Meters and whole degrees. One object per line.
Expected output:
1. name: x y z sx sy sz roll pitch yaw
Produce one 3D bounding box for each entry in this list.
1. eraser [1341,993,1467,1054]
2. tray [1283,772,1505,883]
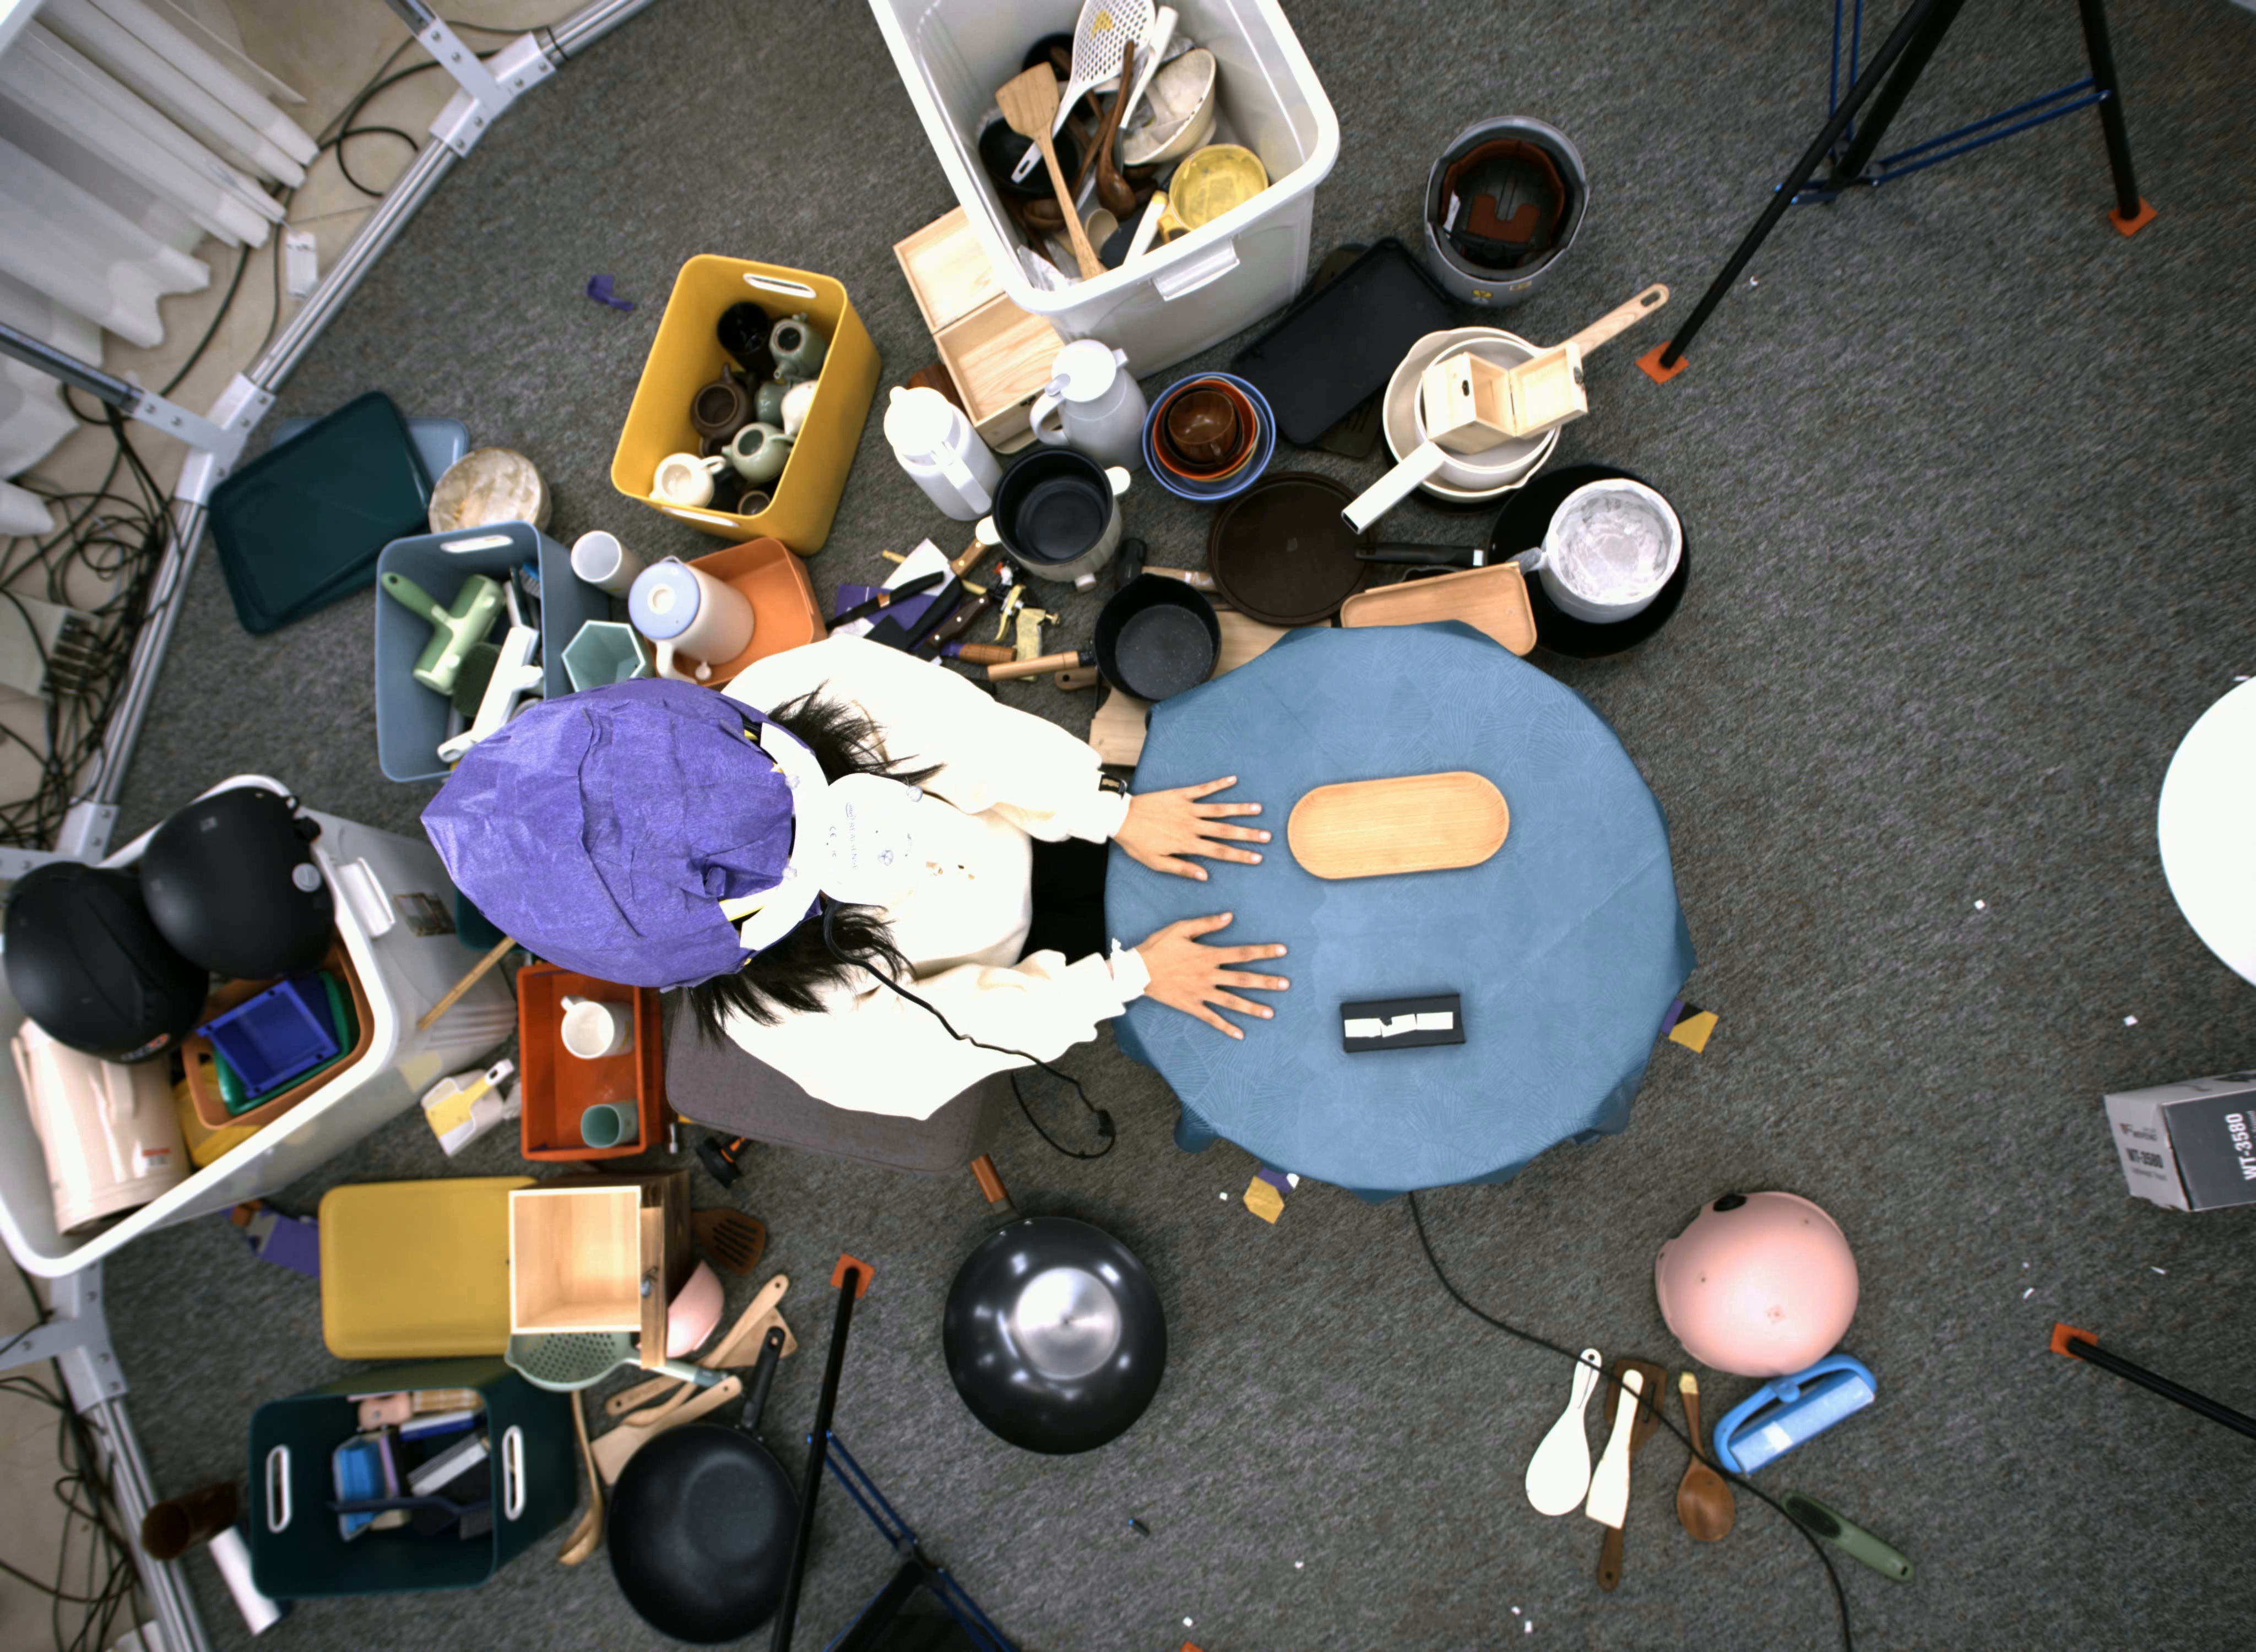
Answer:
1. eraser: 0.286 0.204 1.435 0.126 0.030 0.053 -7 80 9
2. tray: 0.280 0.001 1.454 0.232 0.020 0.101 -8 85 12
